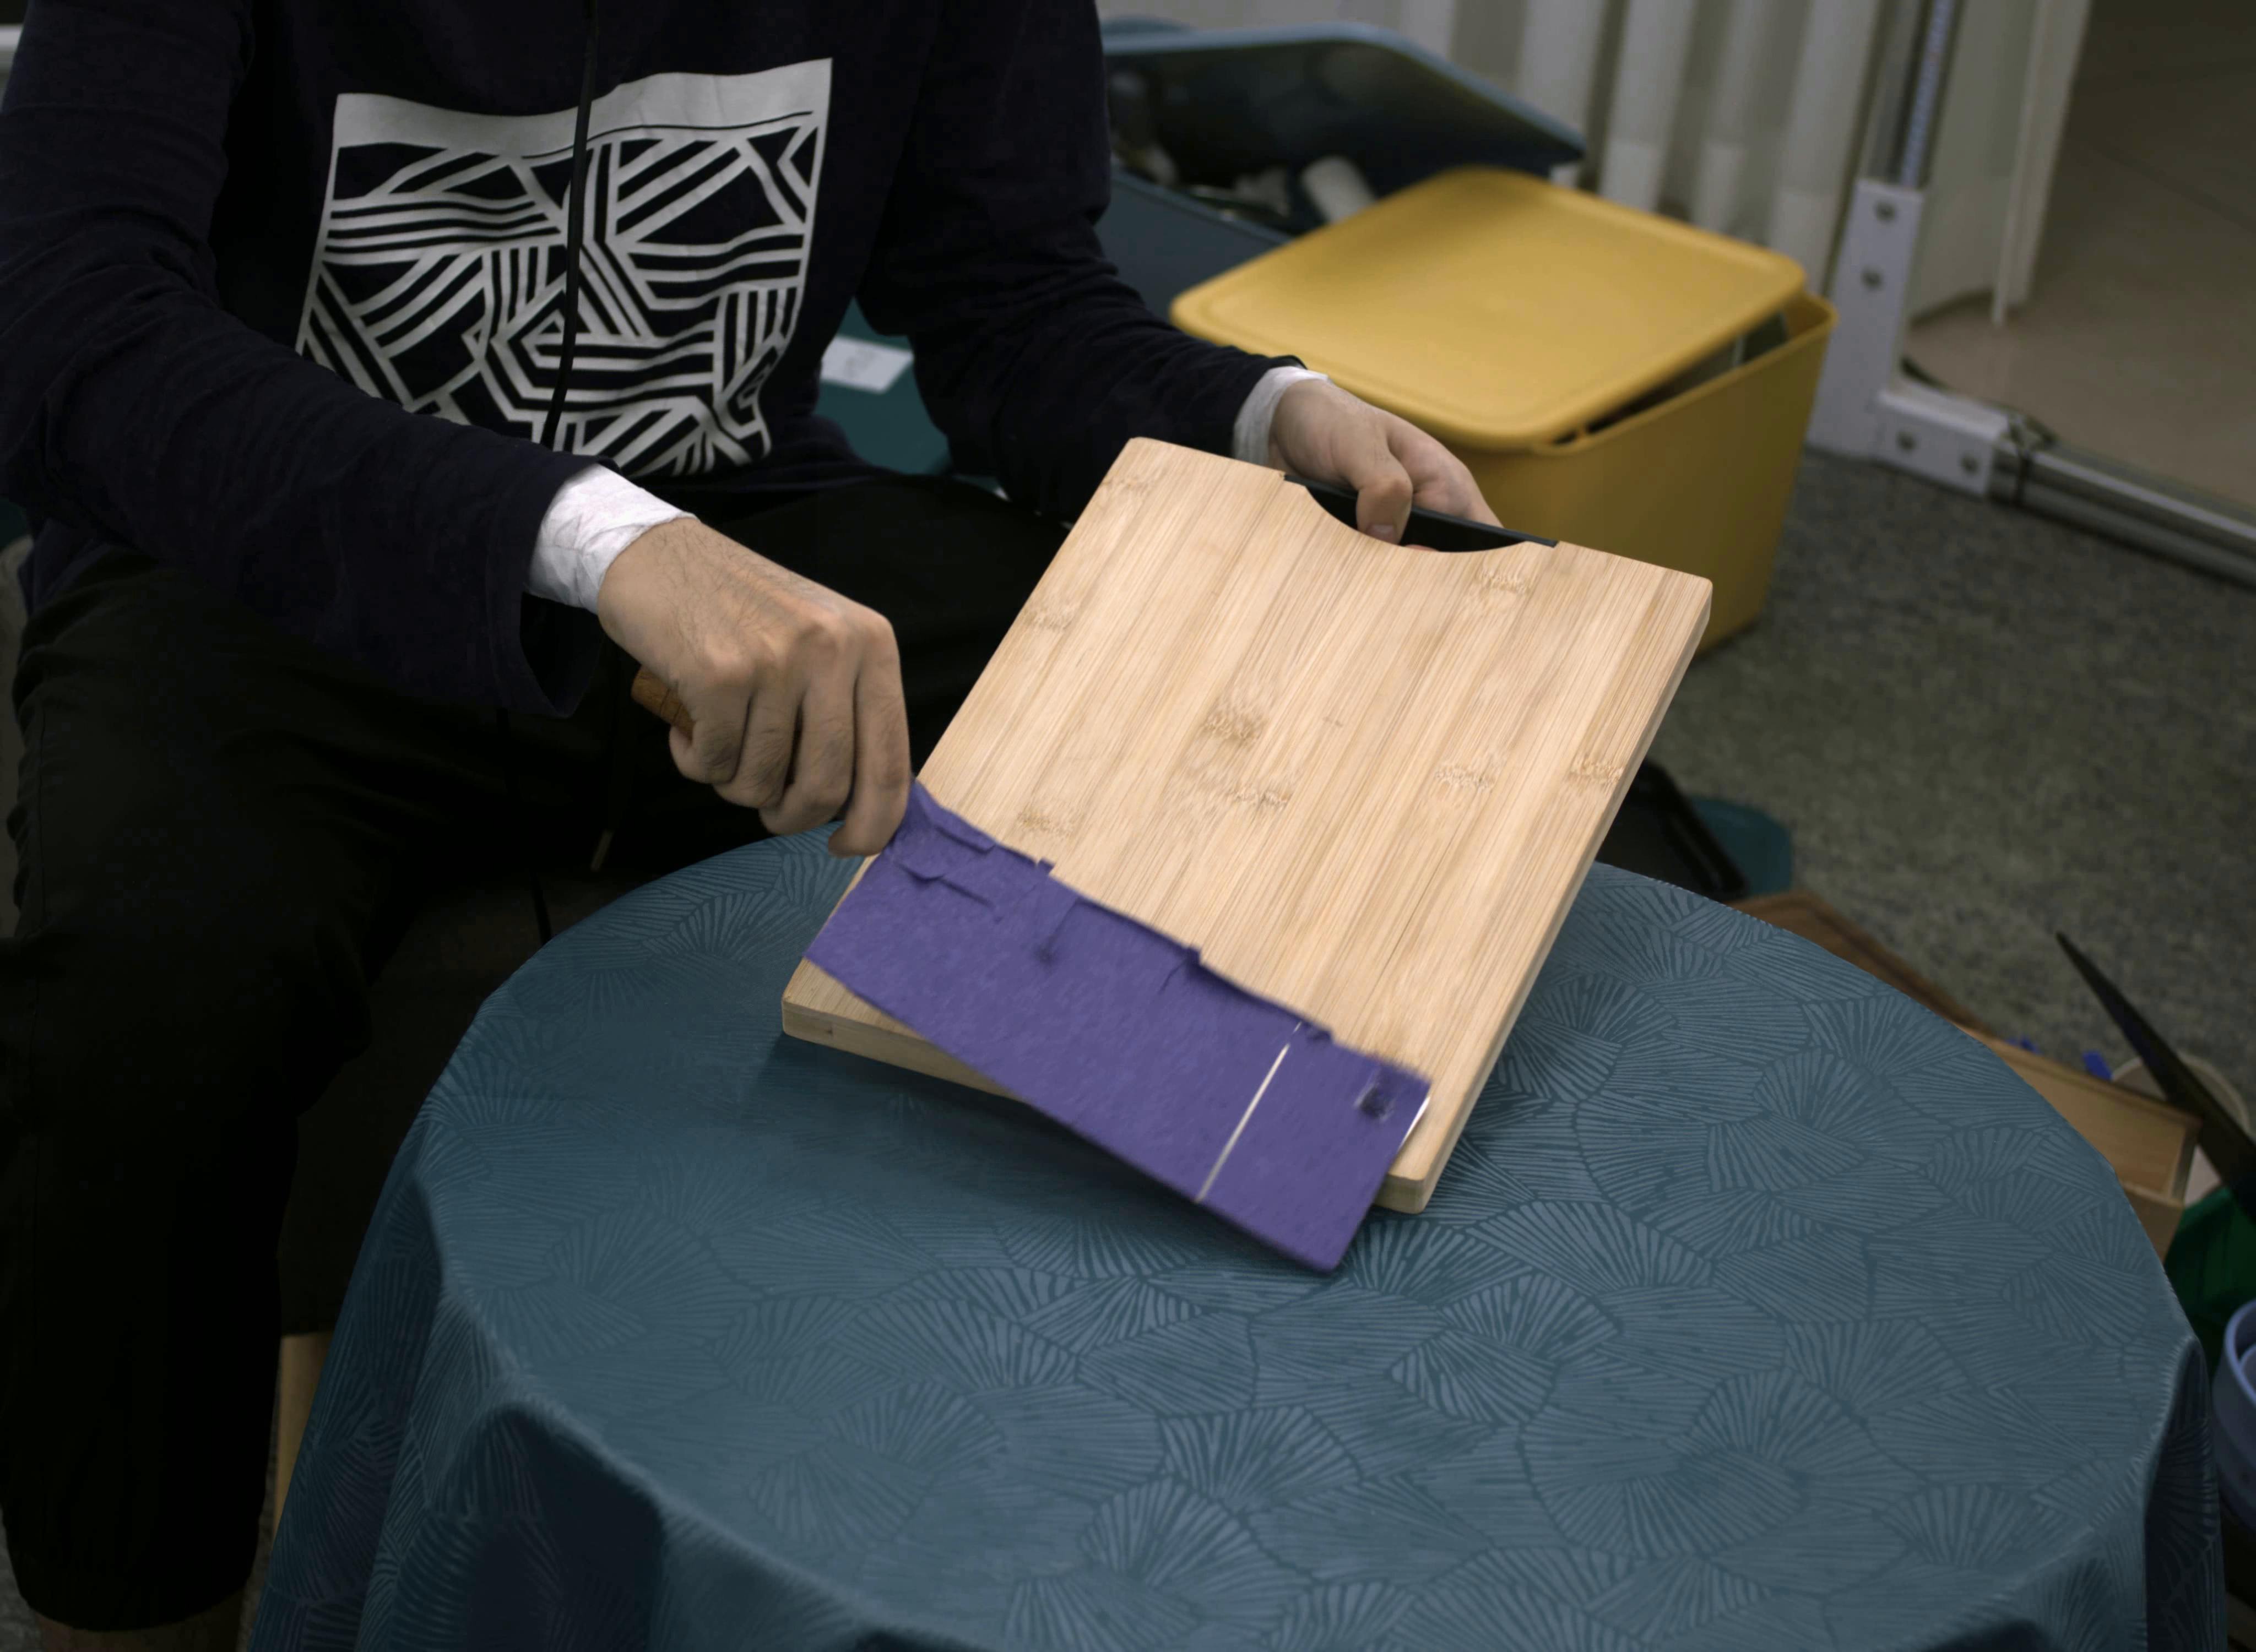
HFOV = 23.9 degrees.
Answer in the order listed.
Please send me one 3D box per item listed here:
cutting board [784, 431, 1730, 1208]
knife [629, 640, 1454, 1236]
[{"bbox_3d":[0.054,-0.012,1.959,0.251,0.023,0.350,15,45,16],"label":"cutting board"},{"bbox_3d":[-0.042,0.038,1.812,0.315,0.032,0.104,28,47,7],"label":"knife"}]
